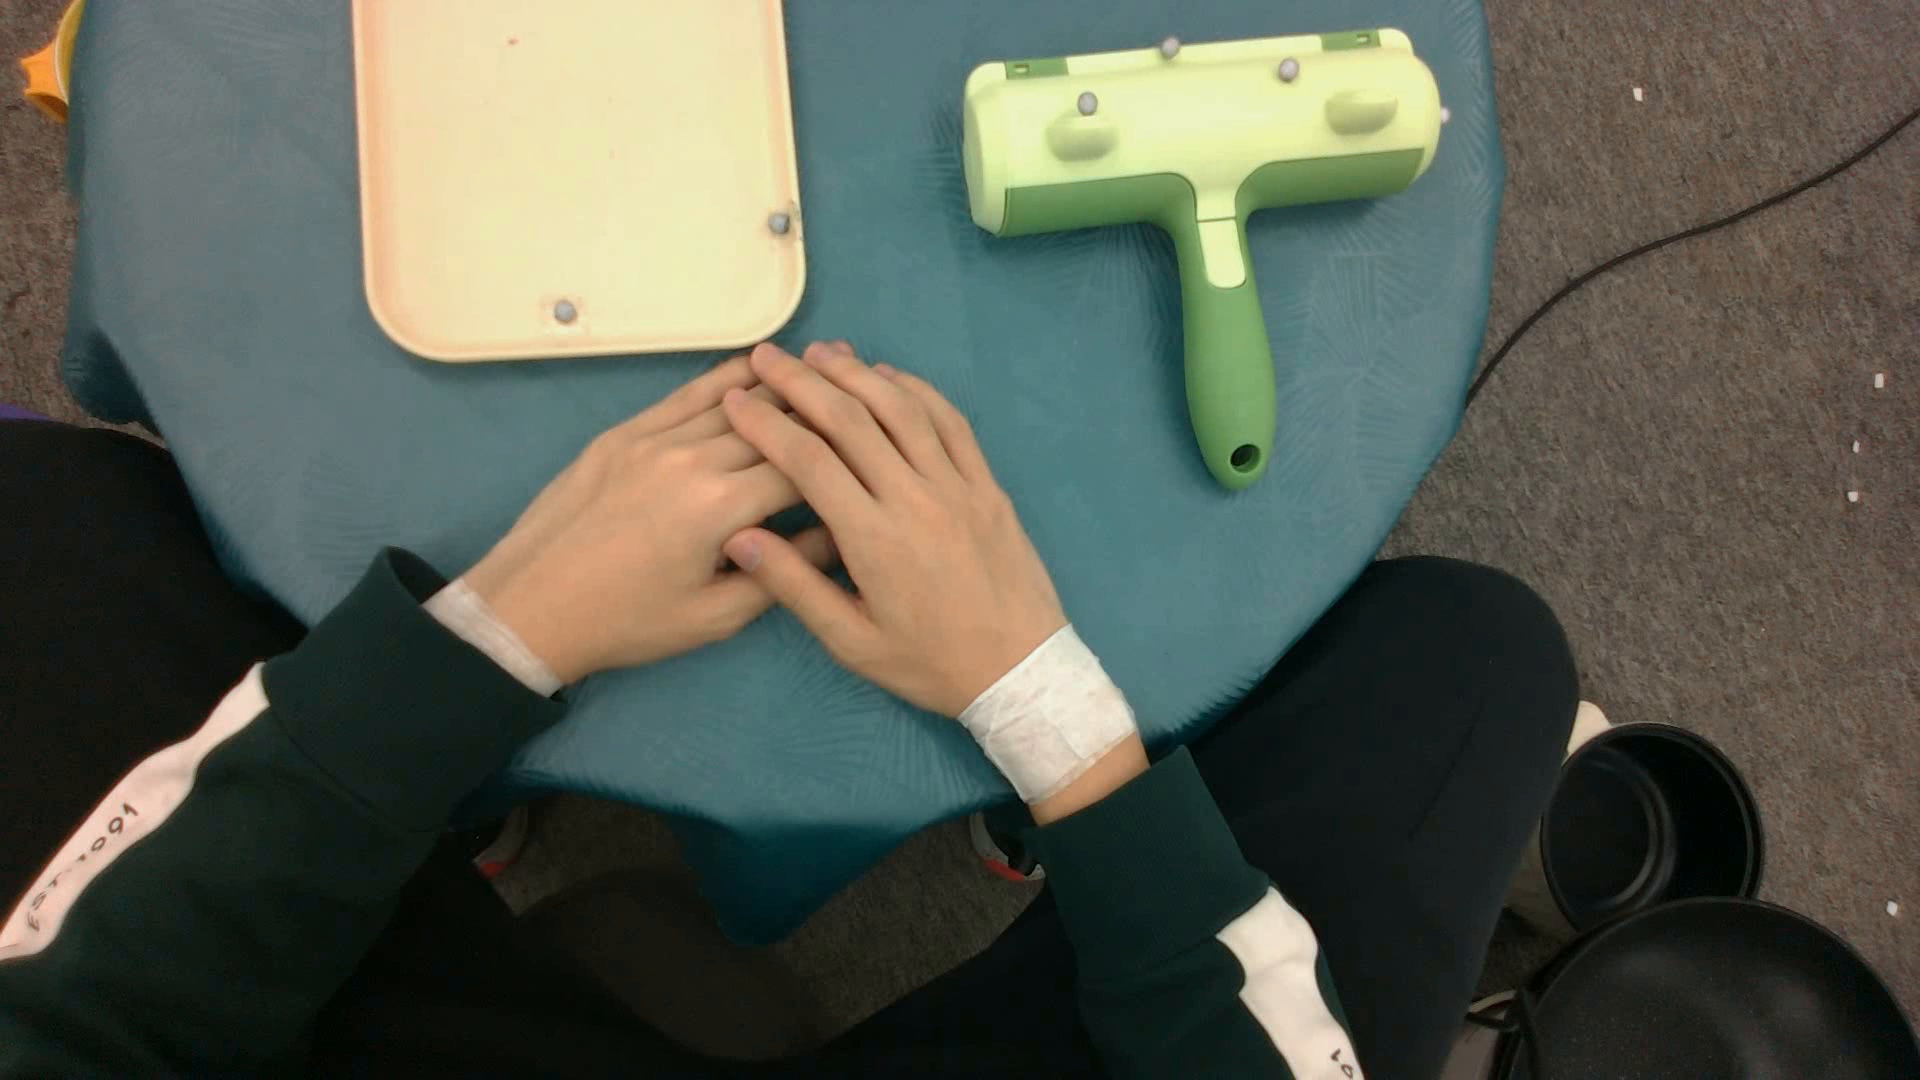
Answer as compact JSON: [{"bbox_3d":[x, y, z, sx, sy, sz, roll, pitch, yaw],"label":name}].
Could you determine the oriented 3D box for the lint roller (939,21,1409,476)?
[{"bbox_3d":[0.101,-0.122,0.568,0.199,0.082,0.183,-8,80,-10],"label":"lint roller"}]

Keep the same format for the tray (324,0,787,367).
[{"bbox_3d":[-0.167,-0.191,0.566,0.171,0.017,0.240,-7,84,-9],"label":"tray"}]
